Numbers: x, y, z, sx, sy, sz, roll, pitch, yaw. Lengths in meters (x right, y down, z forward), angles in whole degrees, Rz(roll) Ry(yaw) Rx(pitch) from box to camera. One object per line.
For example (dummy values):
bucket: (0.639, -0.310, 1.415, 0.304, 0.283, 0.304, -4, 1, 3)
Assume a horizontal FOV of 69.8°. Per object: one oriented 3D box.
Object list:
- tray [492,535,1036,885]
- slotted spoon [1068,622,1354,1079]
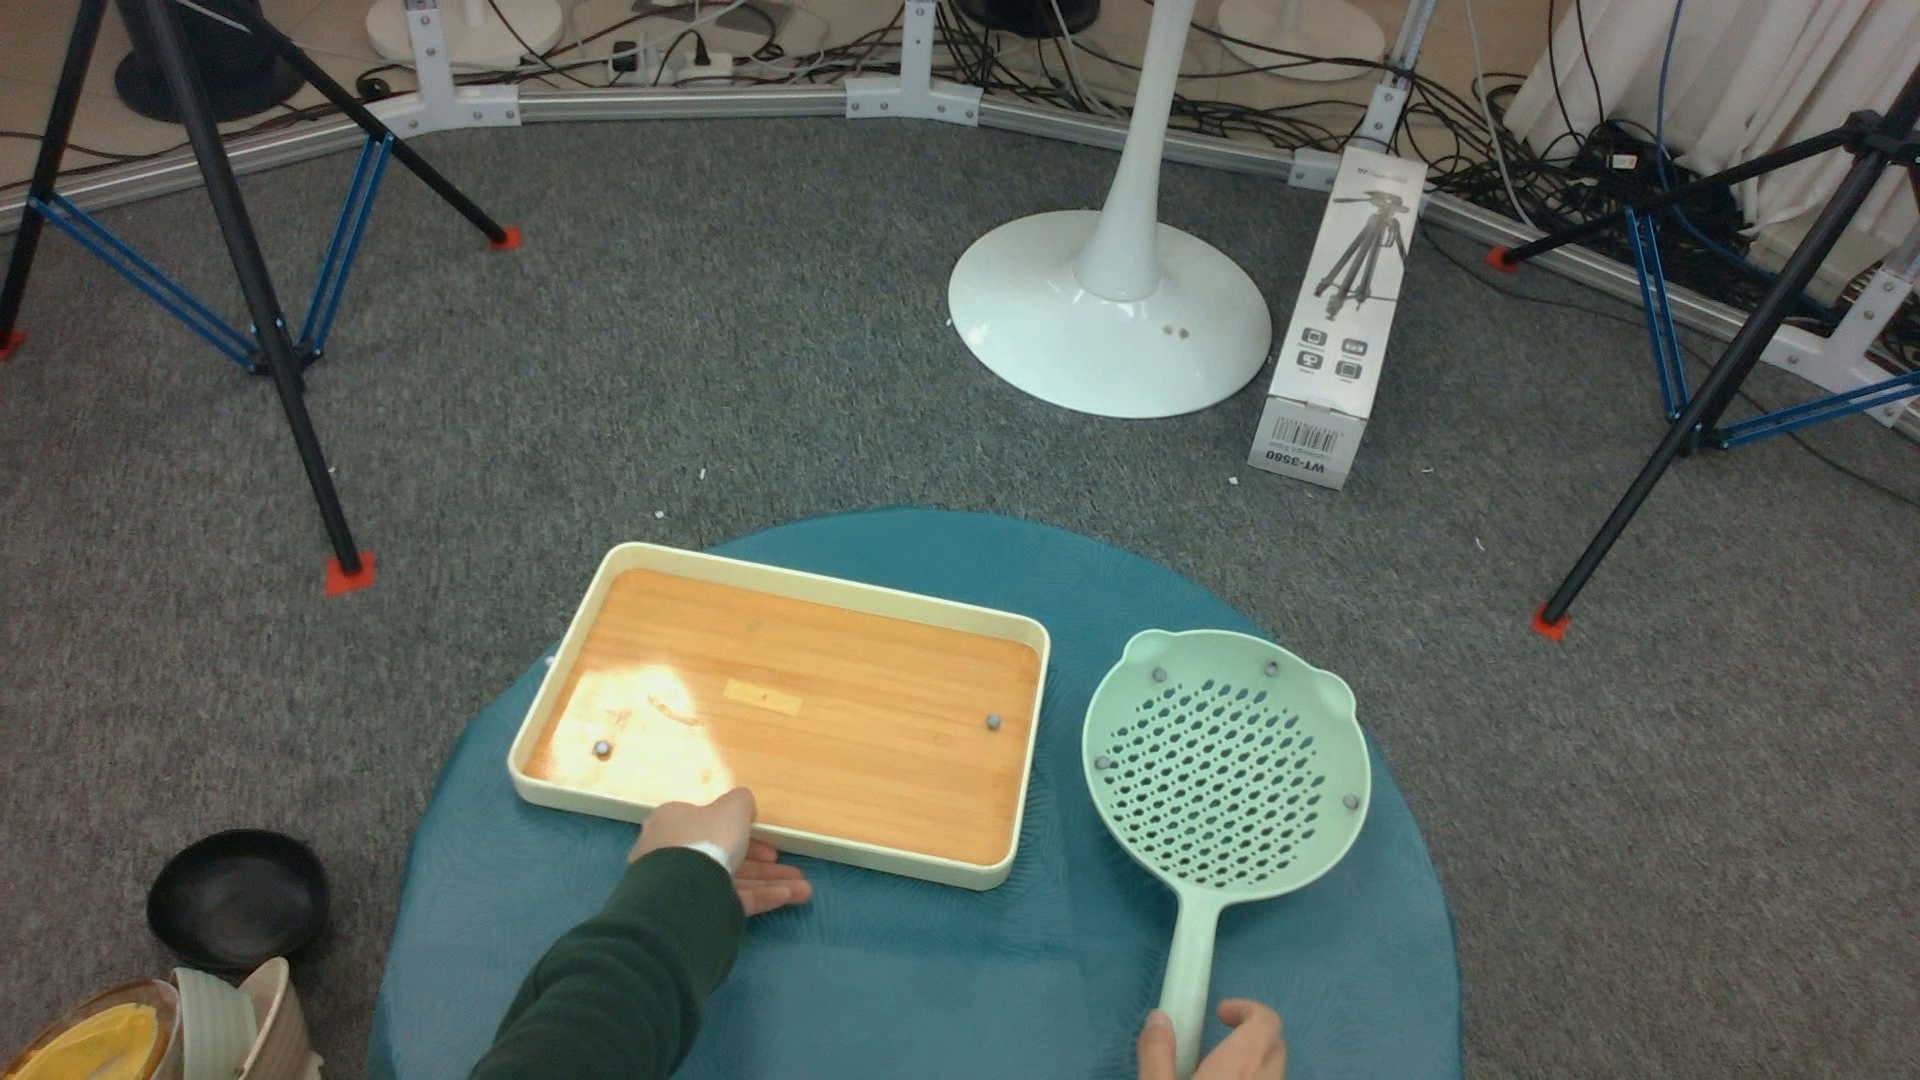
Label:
tray: (-0.111, 0.098, 0.850, 0.300, 0.027, 0.192, 11, 48, 2)
slotted spoon: (0.121, 0.205, 0.761, 0.169, 0.075, 0.361, 14, 48, 7)
